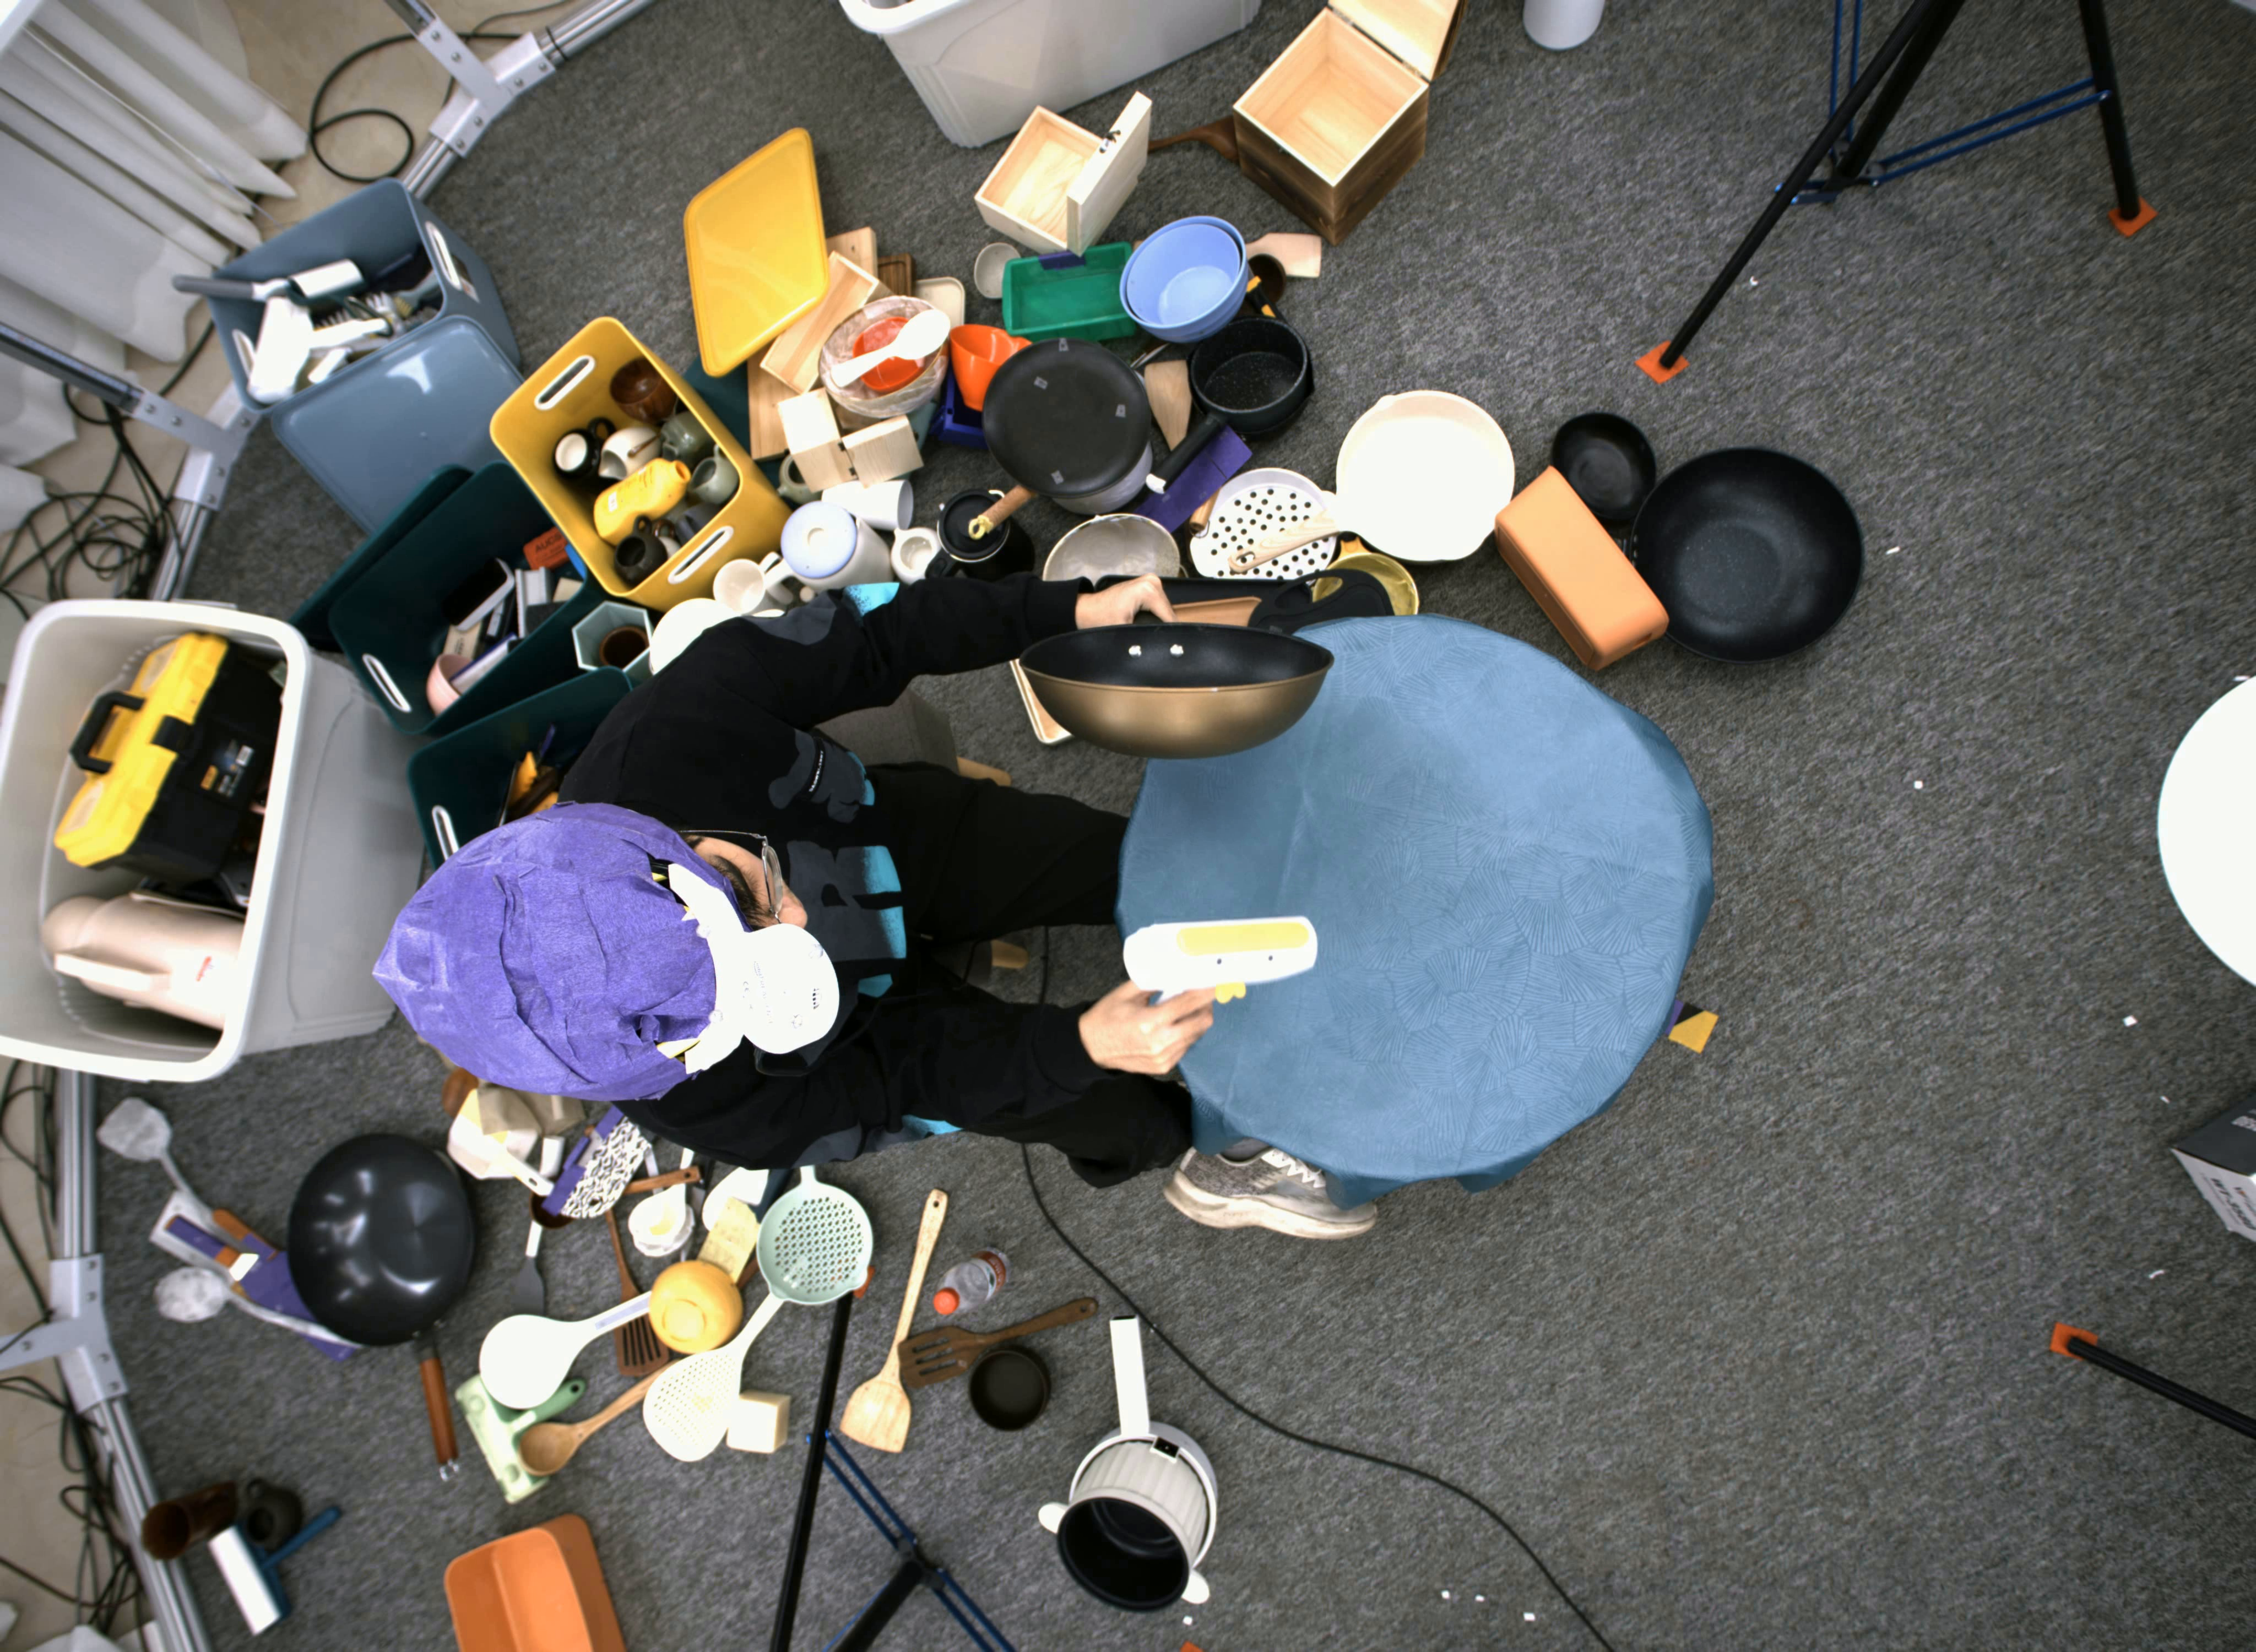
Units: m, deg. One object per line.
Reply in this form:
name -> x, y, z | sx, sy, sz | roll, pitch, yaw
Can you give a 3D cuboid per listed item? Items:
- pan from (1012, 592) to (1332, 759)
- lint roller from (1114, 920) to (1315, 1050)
pan -> 0.029, -0.151, 1.333 | 0.288, 0.456, 0.088 | -3, 110, -7
lint roller -> 0.056, 0.148, 1.268 | 0.191, 0.197, 0.073 | -7, 68, -32
